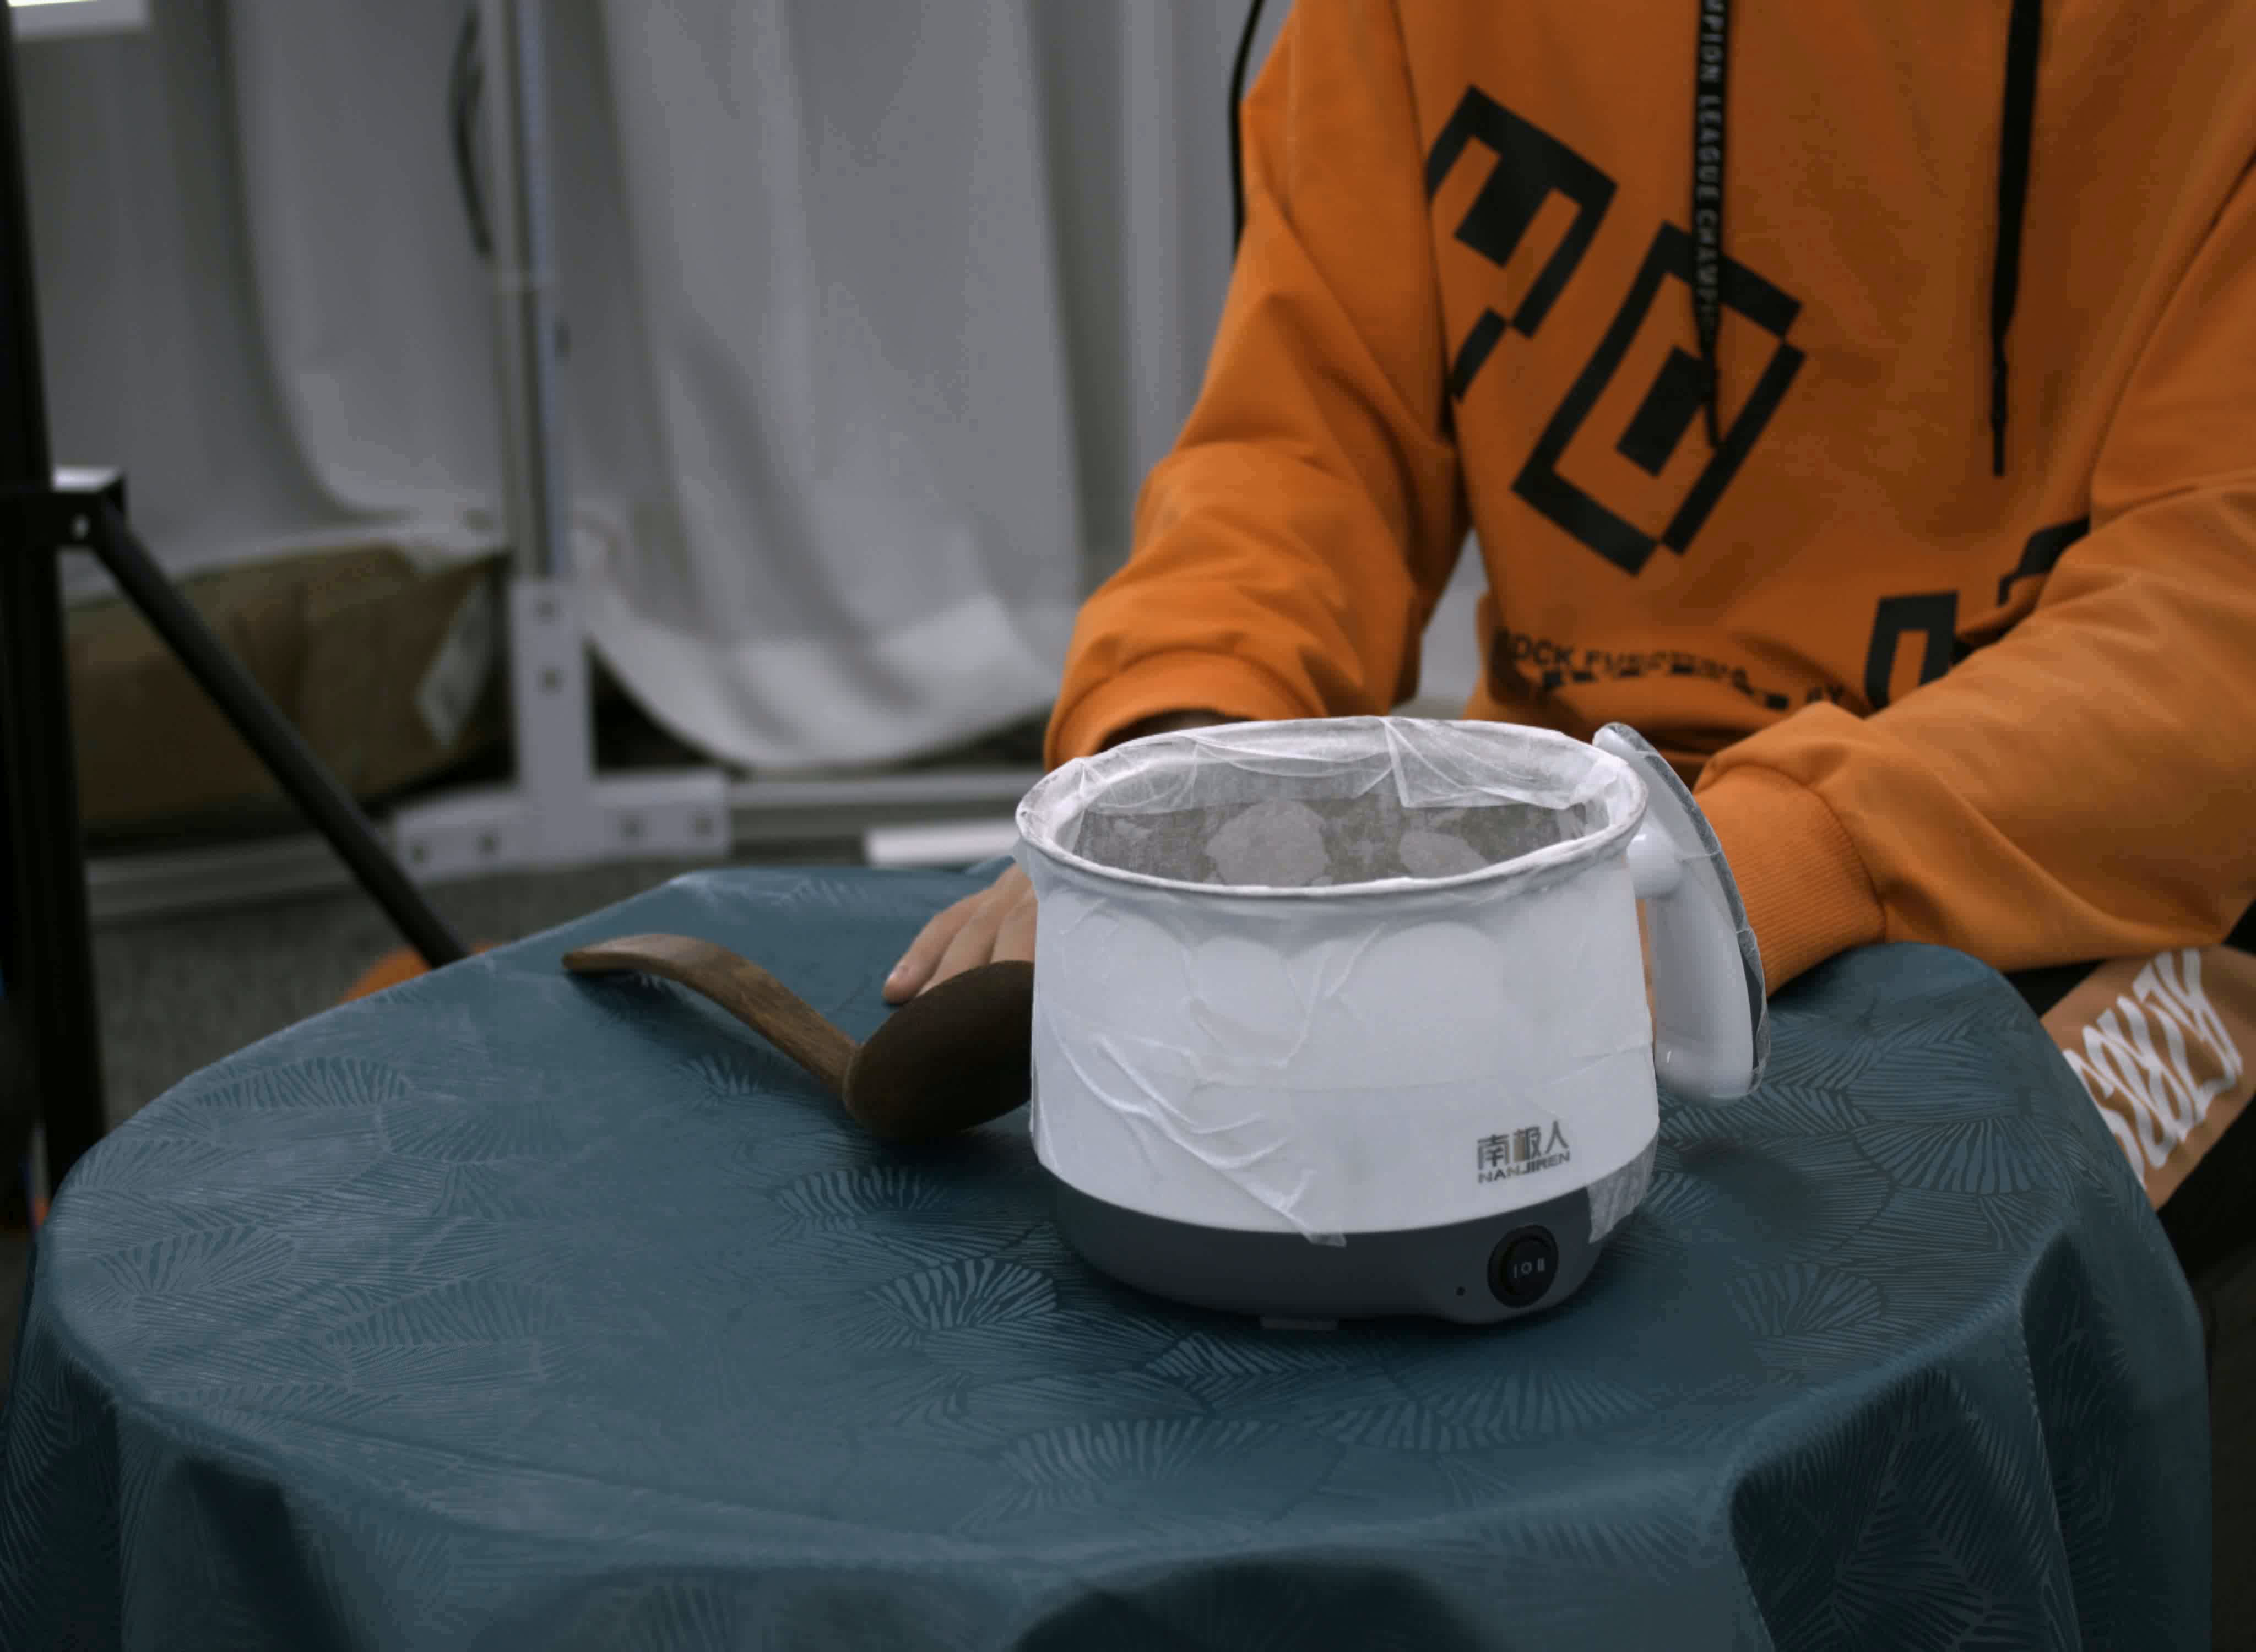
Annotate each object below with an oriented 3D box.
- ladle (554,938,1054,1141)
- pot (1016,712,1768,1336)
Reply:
[{"bbox_3d":[-0.110,0.043,1.678,0.074,0.071,0.280,-7,16,-31],"label":"ladle"},{"bbox_3d":[0.082,0.048,1.502,0.228,0.136,0.183,-12,19,-30],"label":"pot"}]
